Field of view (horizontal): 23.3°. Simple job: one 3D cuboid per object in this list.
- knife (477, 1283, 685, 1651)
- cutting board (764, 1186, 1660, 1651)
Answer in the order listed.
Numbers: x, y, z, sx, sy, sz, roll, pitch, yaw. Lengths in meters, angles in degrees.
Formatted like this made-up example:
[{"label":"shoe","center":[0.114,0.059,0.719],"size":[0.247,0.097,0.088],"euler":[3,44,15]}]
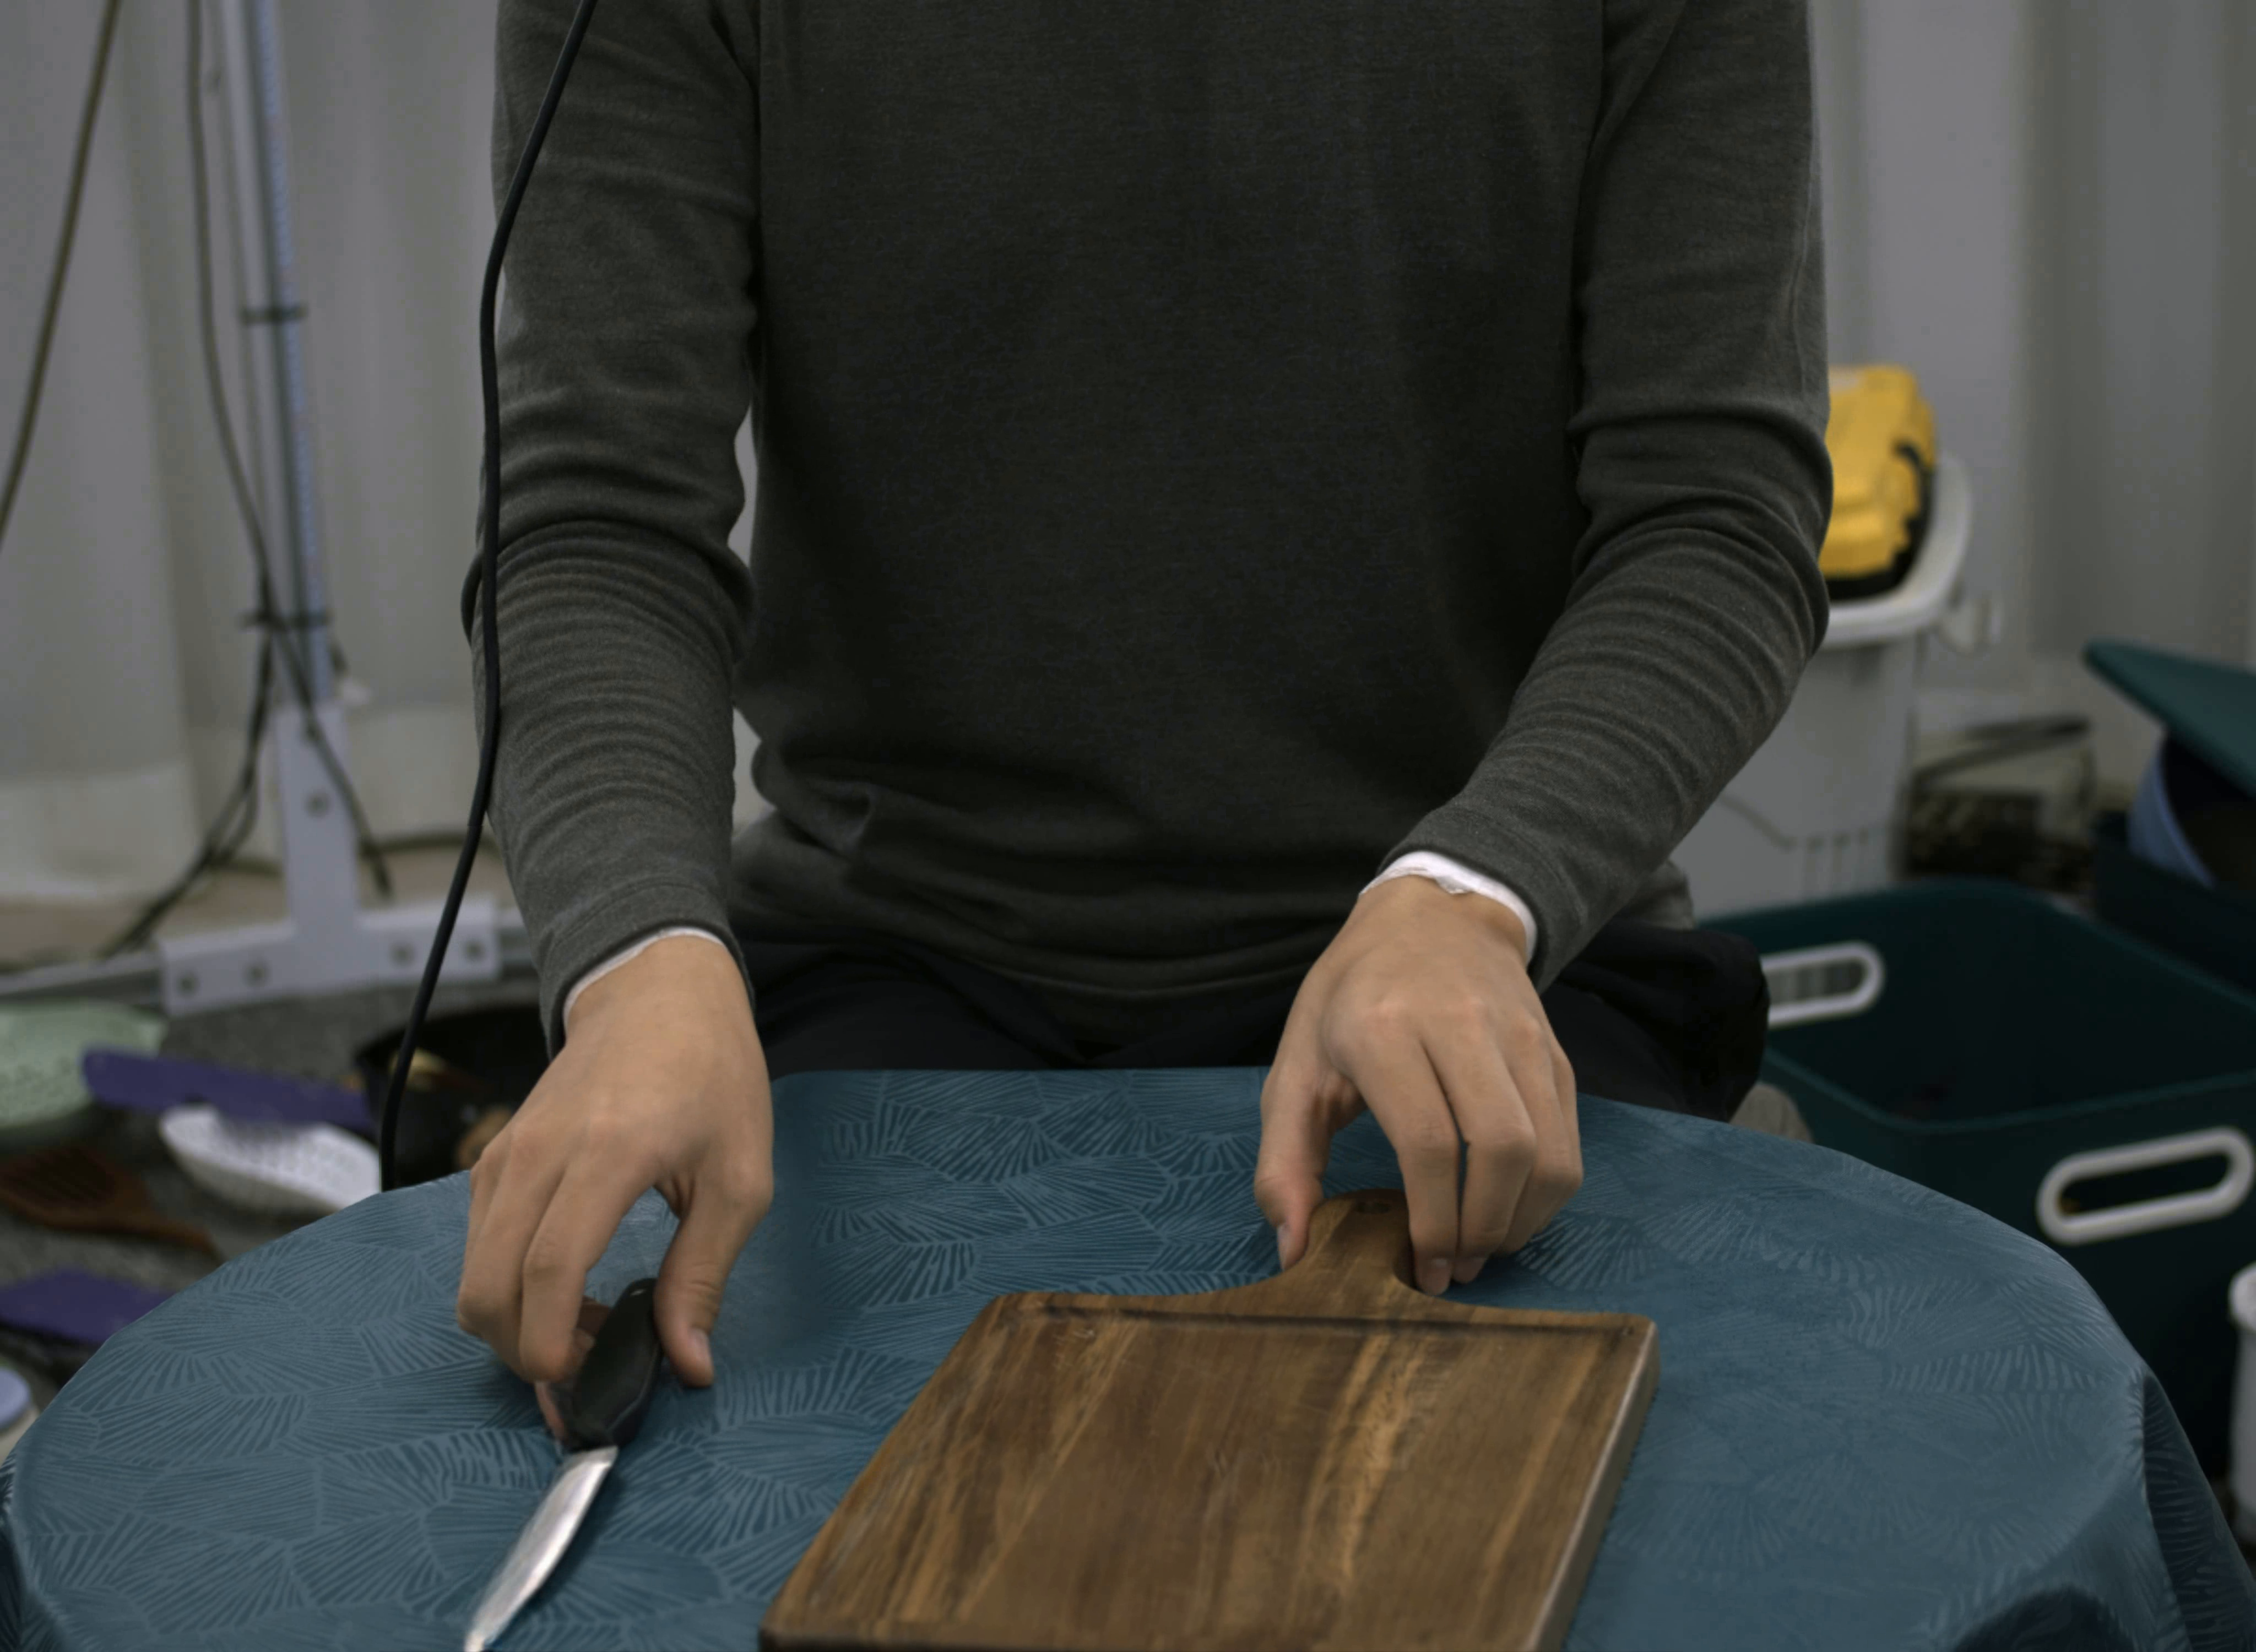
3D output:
[{"label":"knife","center":[-0.152,0.176,1.491],"size":[0.024,0.016,0.240],"euler":[-10,16,9]},{"label":"cutting board","center":[0.040,0.163,1.486],"size":[0.201,0.023,0.354],"euler":[1,15,13]}]
